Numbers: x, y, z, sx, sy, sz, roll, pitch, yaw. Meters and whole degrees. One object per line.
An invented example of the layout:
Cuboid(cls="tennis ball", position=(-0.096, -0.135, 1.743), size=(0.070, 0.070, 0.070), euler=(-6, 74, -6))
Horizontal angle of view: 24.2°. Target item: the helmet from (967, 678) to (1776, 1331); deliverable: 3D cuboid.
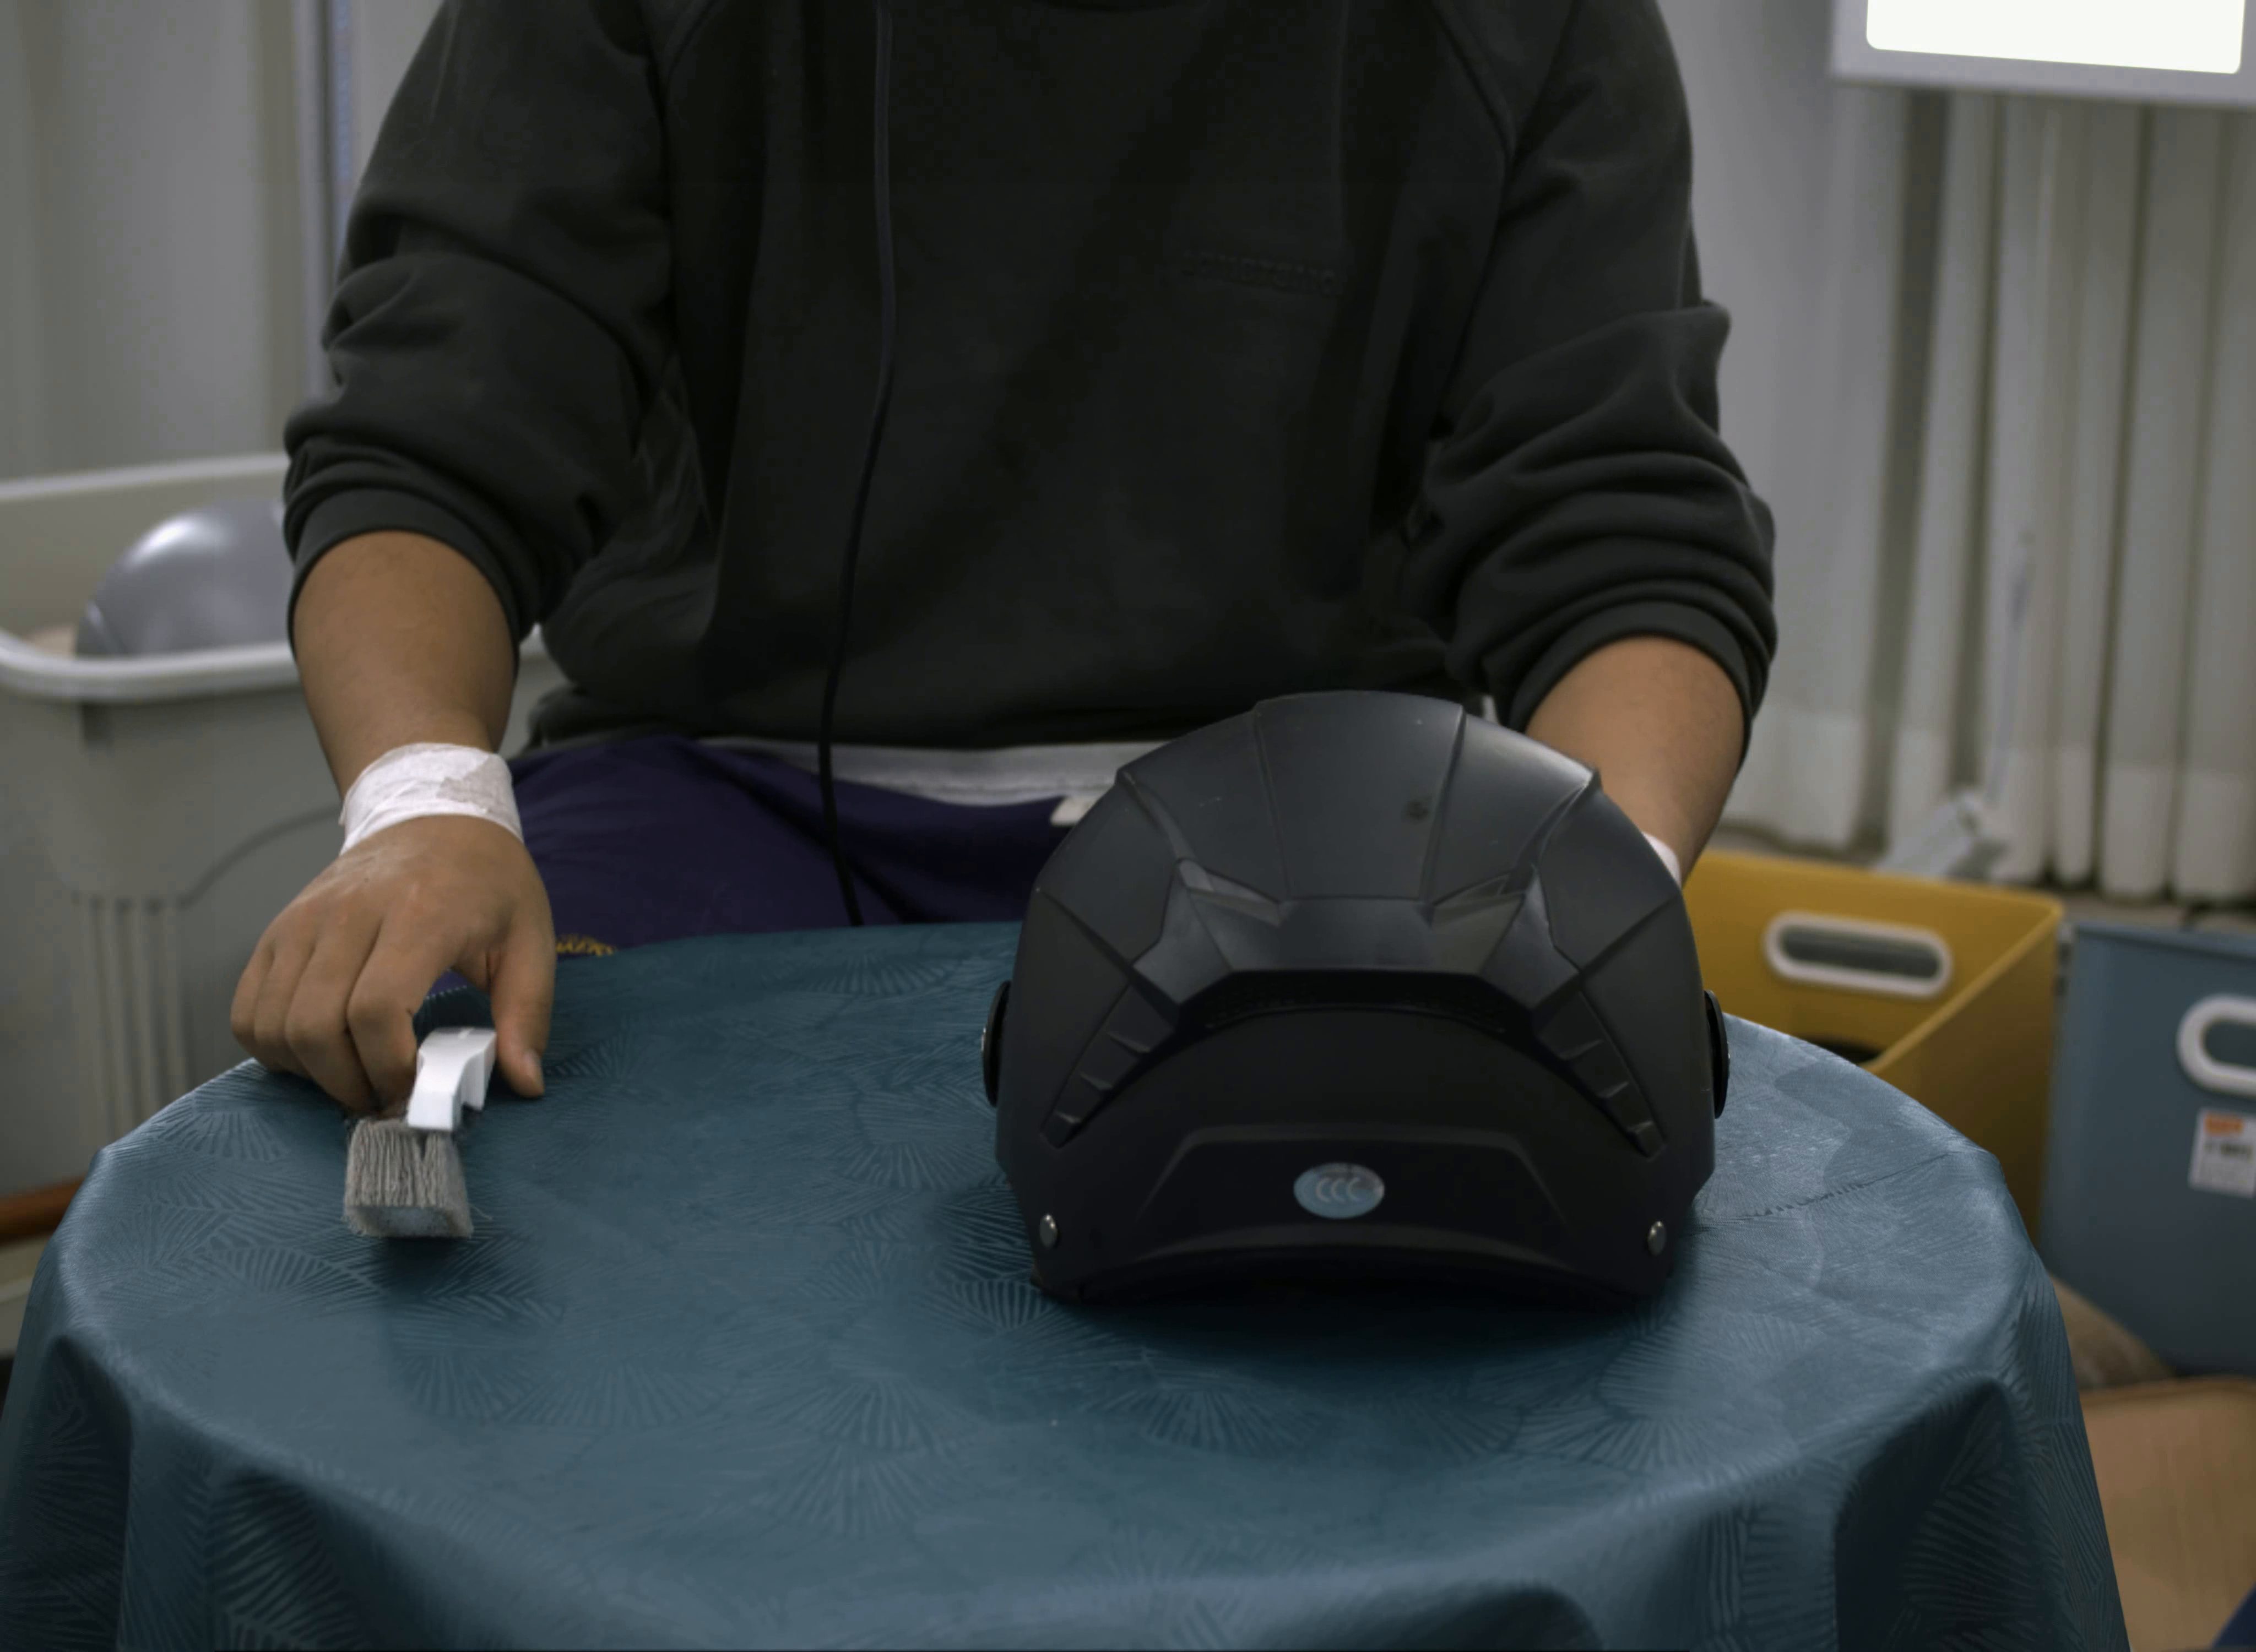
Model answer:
Cuboid(cls="helmet", position=(0.072, 0.042, 1.582), size=(0.245, 0.174, 0.275), euler=(2, 19, 4))

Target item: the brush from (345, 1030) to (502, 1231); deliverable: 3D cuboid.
Cuboid(cls="brush", position=(-0.216, 0.094, 1.638), size=(0.034, 0.050, 0.243), euler=(-1, 2, -2))
